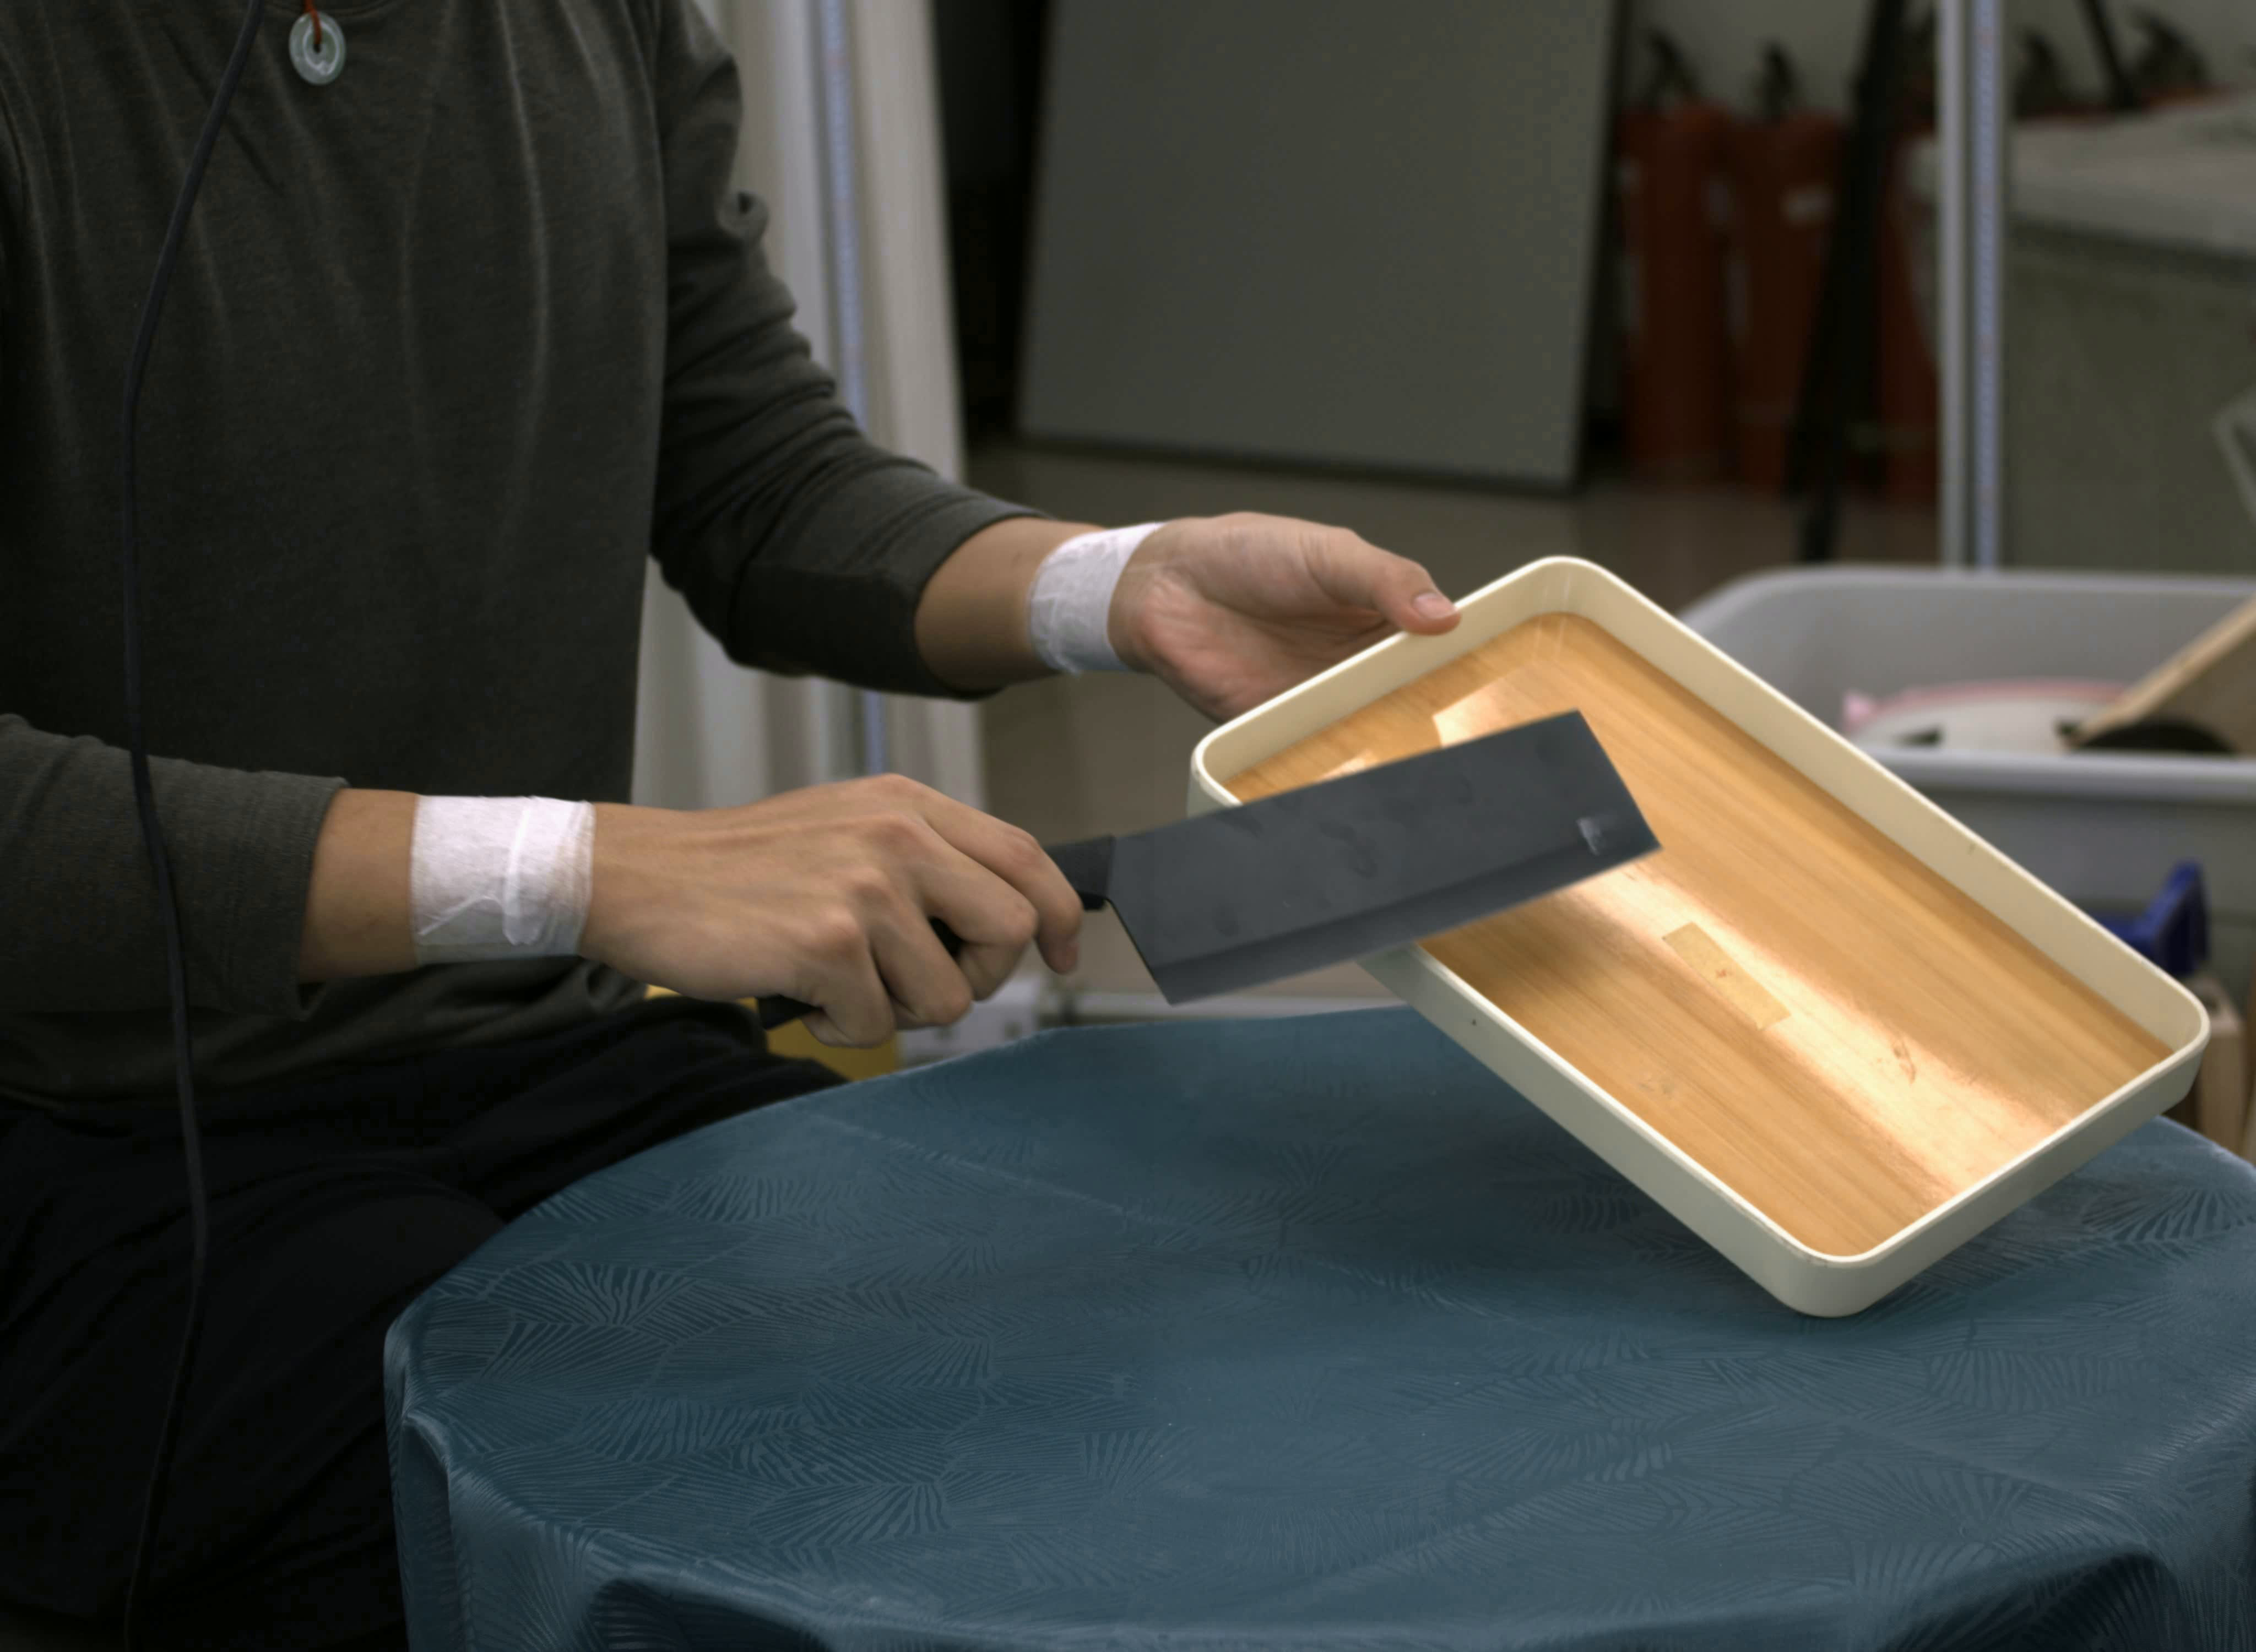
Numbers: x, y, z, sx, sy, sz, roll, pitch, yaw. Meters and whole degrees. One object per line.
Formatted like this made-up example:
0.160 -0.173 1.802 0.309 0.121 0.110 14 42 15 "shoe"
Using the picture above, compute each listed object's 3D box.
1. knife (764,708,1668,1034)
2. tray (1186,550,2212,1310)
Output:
0.027 0.021 1.668 0.296 0.021 0.082 -12 54 -18 "knife"
0.179 0.027 1.724 0.188 0.027 0.303 -27 50 -32 "tray"
